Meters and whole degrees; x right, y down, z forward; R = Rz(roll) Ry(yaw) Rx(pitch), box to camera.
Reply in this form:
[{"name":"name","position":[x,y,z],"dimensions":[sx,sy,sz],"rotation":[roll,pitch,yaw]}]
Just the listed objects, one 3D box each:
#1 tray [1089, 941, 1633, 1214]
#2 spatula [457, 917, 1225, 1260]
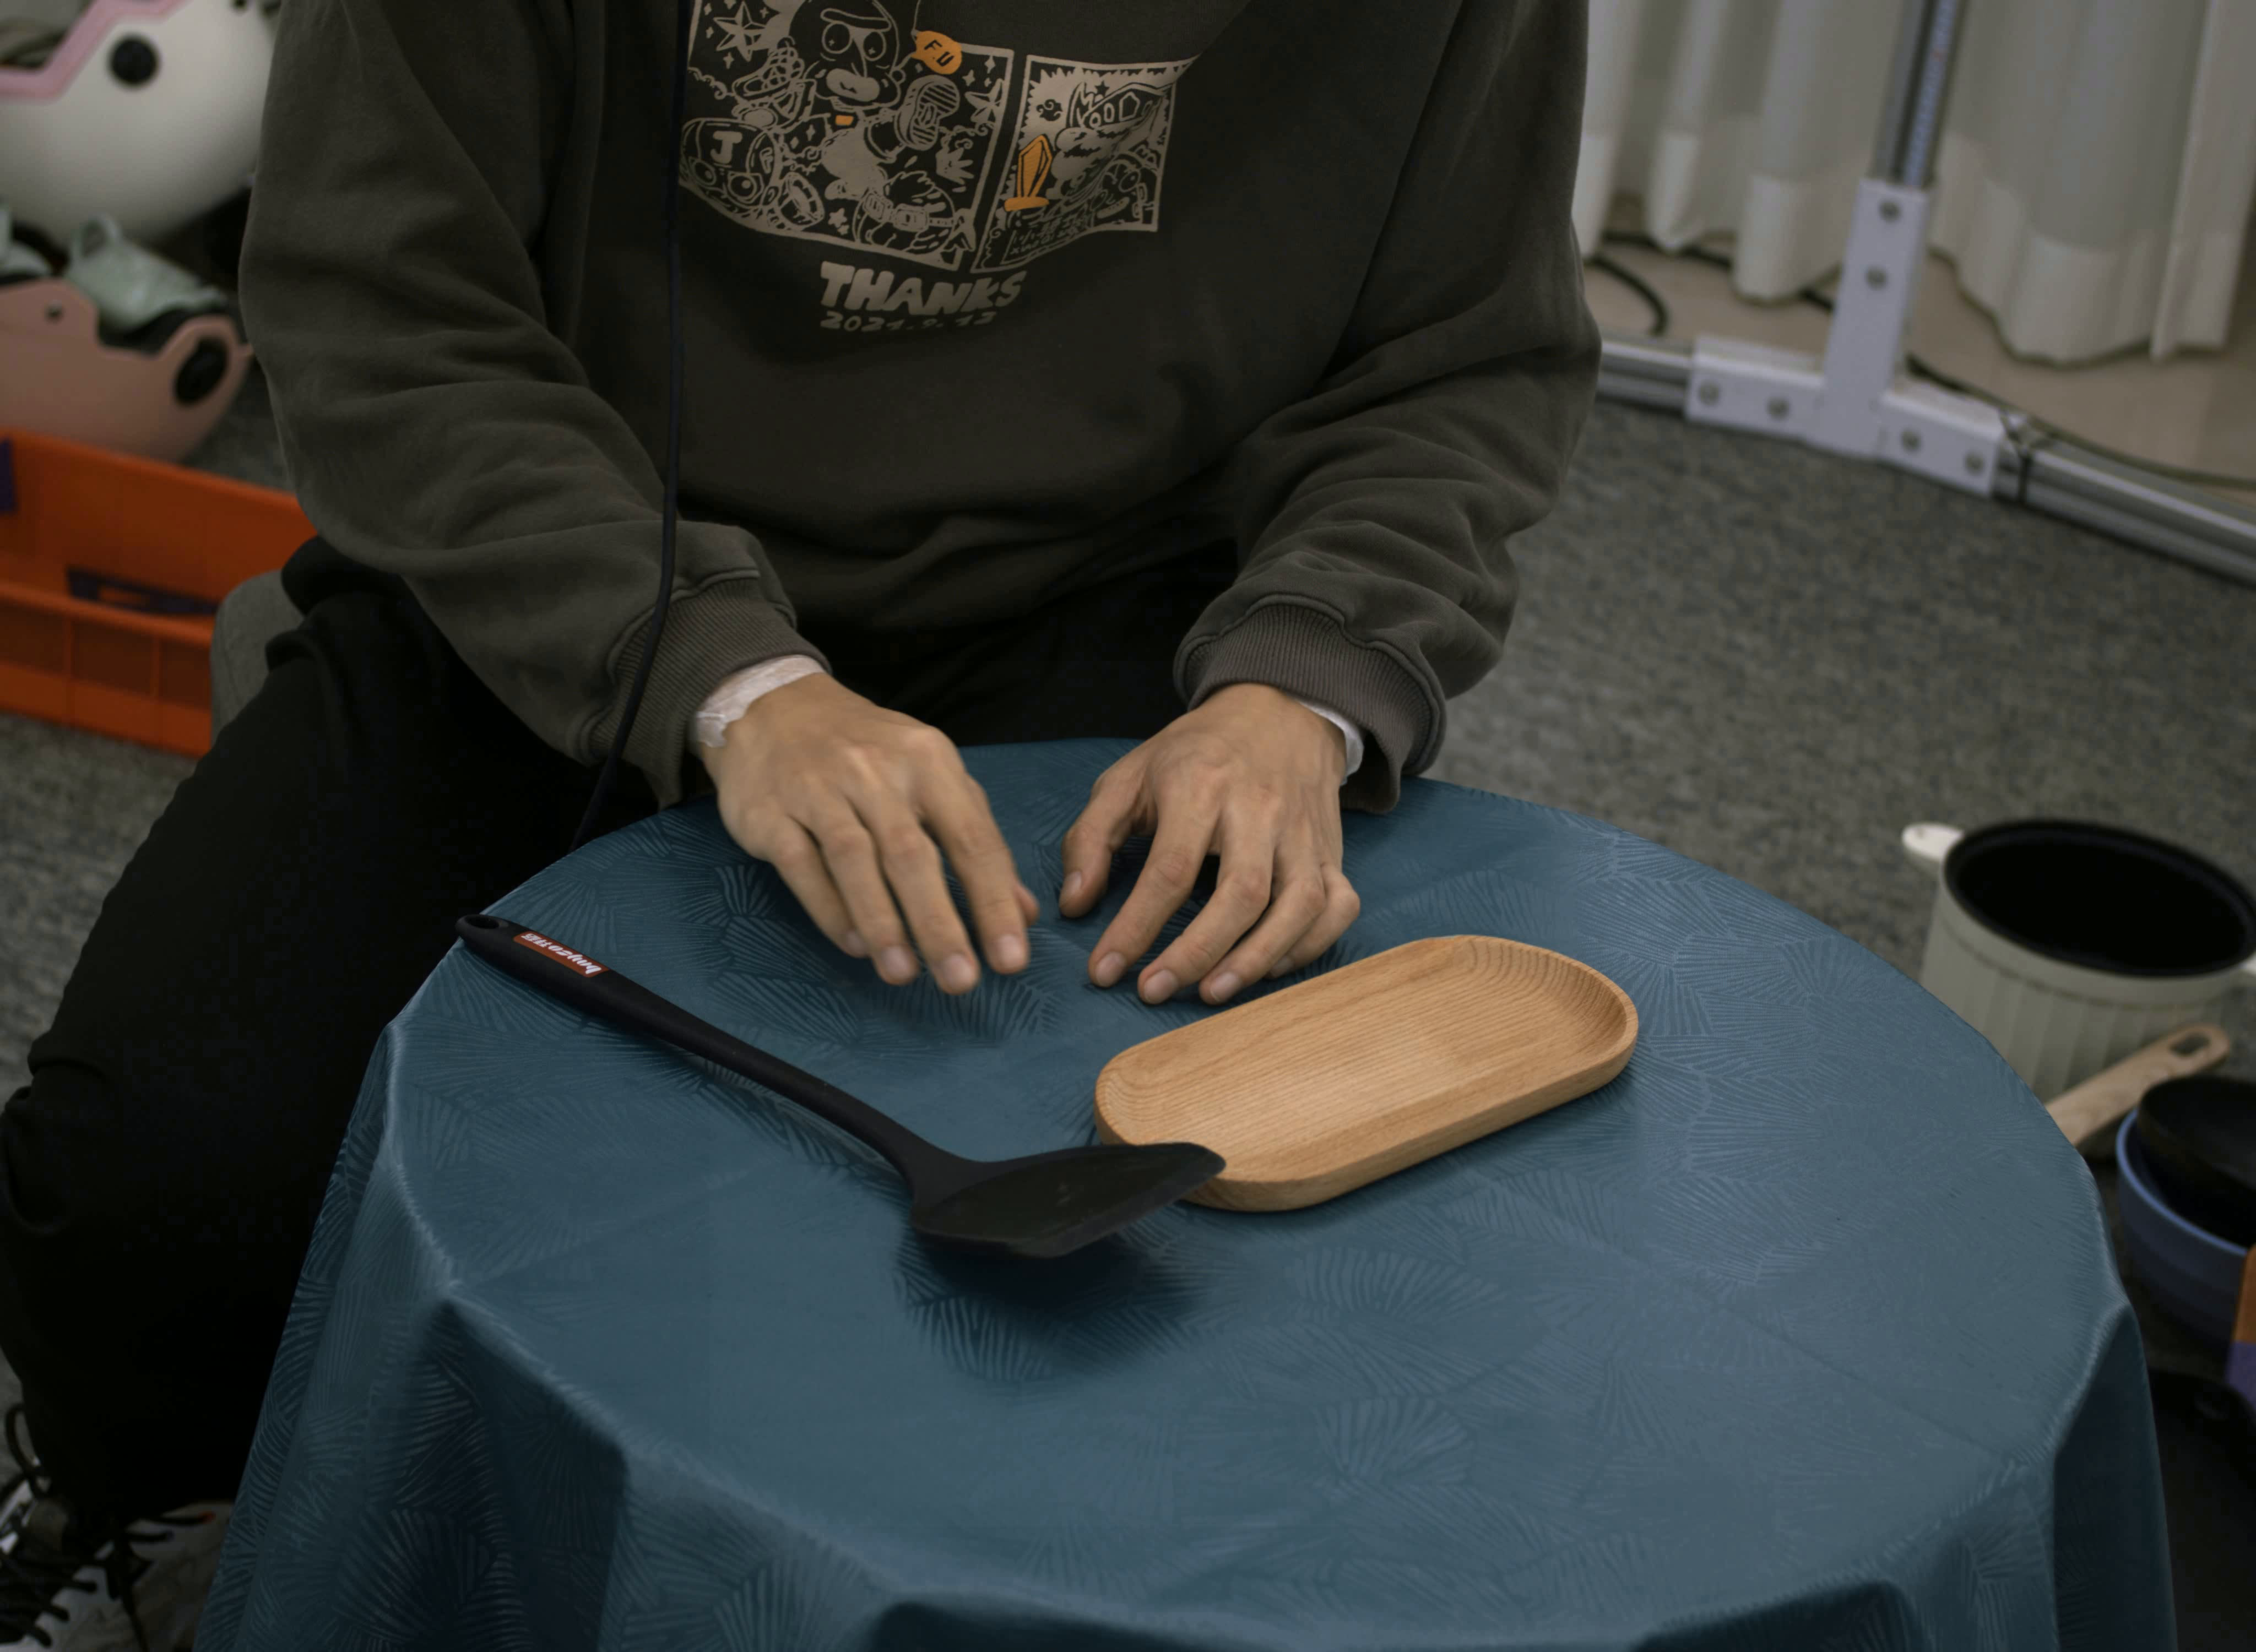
[{"name":"tray","position":[0.084,0.088,1.876],"dimensions":[0.230,0.020,0.102],"rotation":[-19,36,-39]},{"name":"spatula","position":[-0.116,0.082,1.819],"dimensions":[0.328,0.040,0.099],"rotation":[26,31,34]}]
